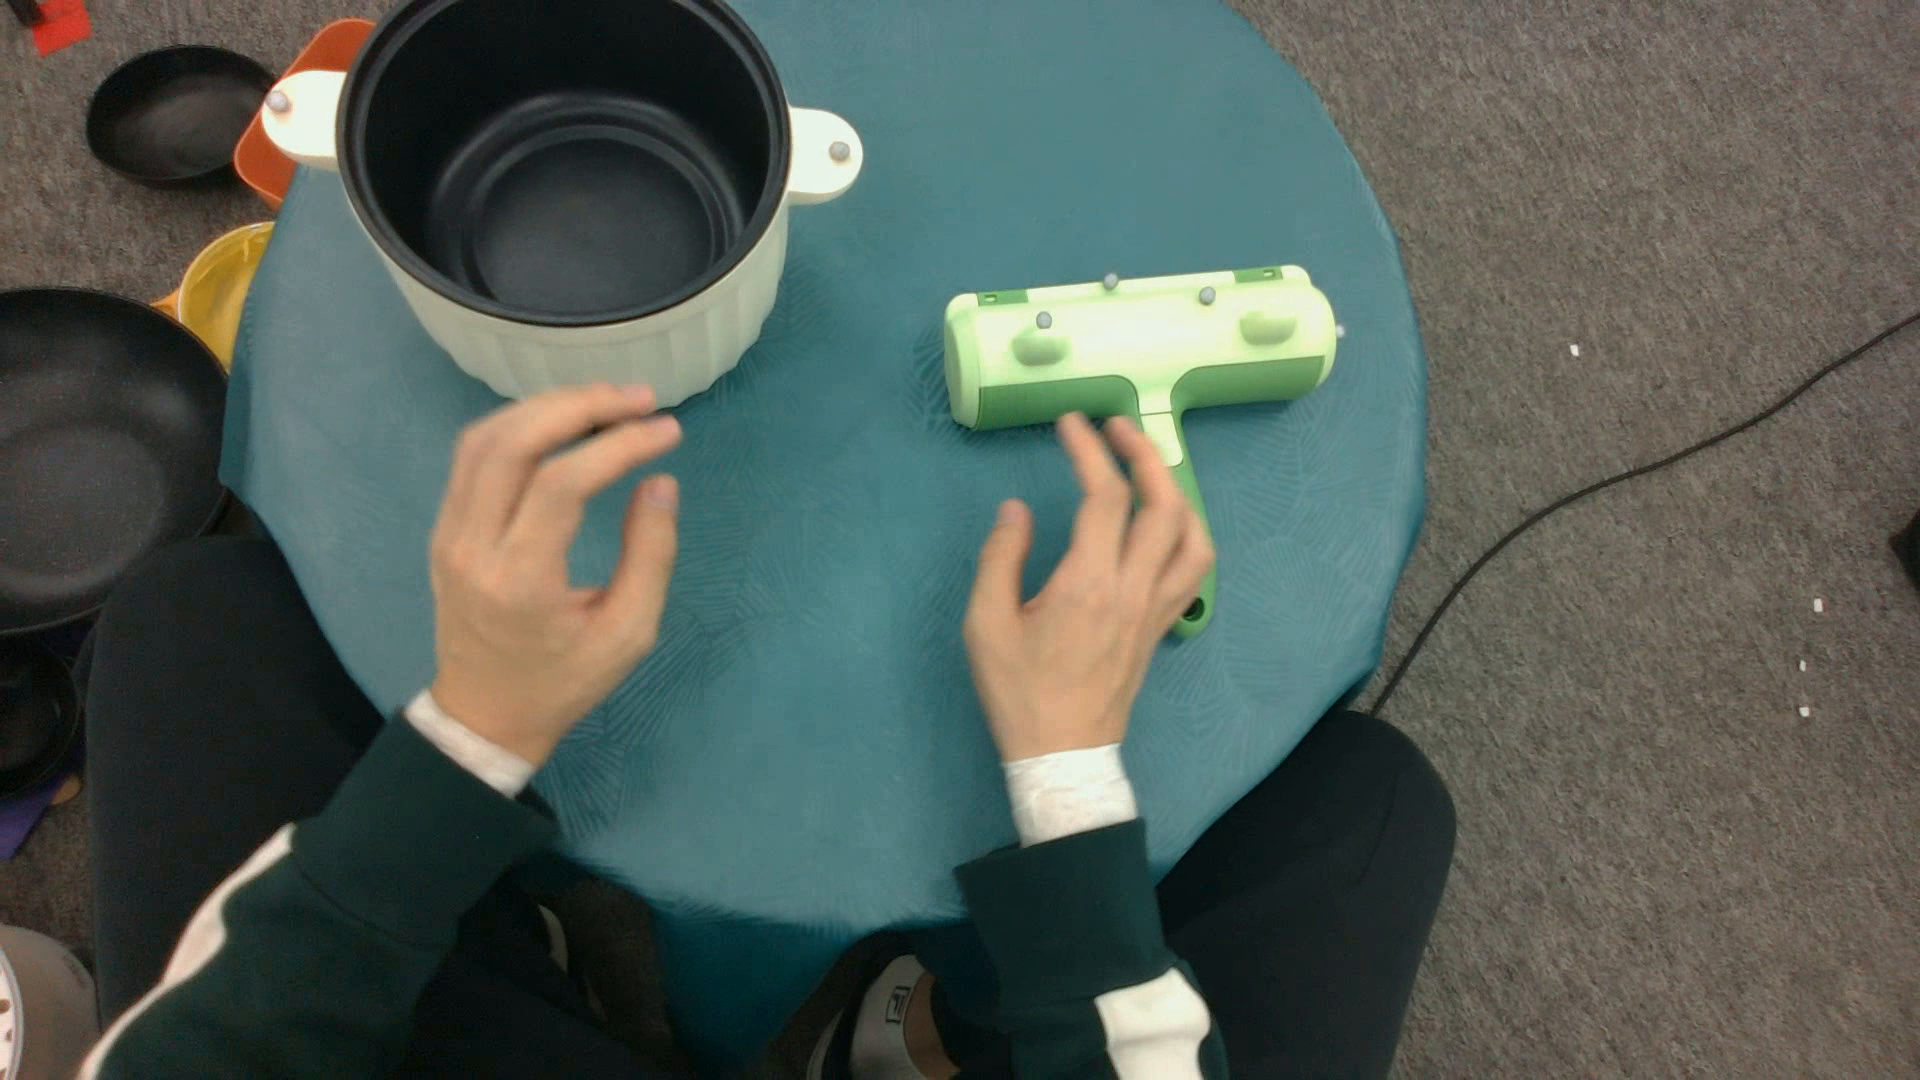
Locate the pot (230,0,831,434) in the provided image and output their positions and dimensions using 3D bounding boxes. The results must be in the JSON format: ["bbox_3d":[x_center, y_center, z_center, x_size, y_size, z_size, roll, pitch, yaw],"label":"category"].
[{"bbox_3d":[-0.184,-0.157,0.630,0.240,0.142,0.191,0,76,-10],"label":"pot"}]

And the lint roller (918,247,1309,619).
[{"bbox_3d":[0.090,-0.058,0.674,0.199,0.082,0.184,-8,68,-12],"label":"lint roller"}]
